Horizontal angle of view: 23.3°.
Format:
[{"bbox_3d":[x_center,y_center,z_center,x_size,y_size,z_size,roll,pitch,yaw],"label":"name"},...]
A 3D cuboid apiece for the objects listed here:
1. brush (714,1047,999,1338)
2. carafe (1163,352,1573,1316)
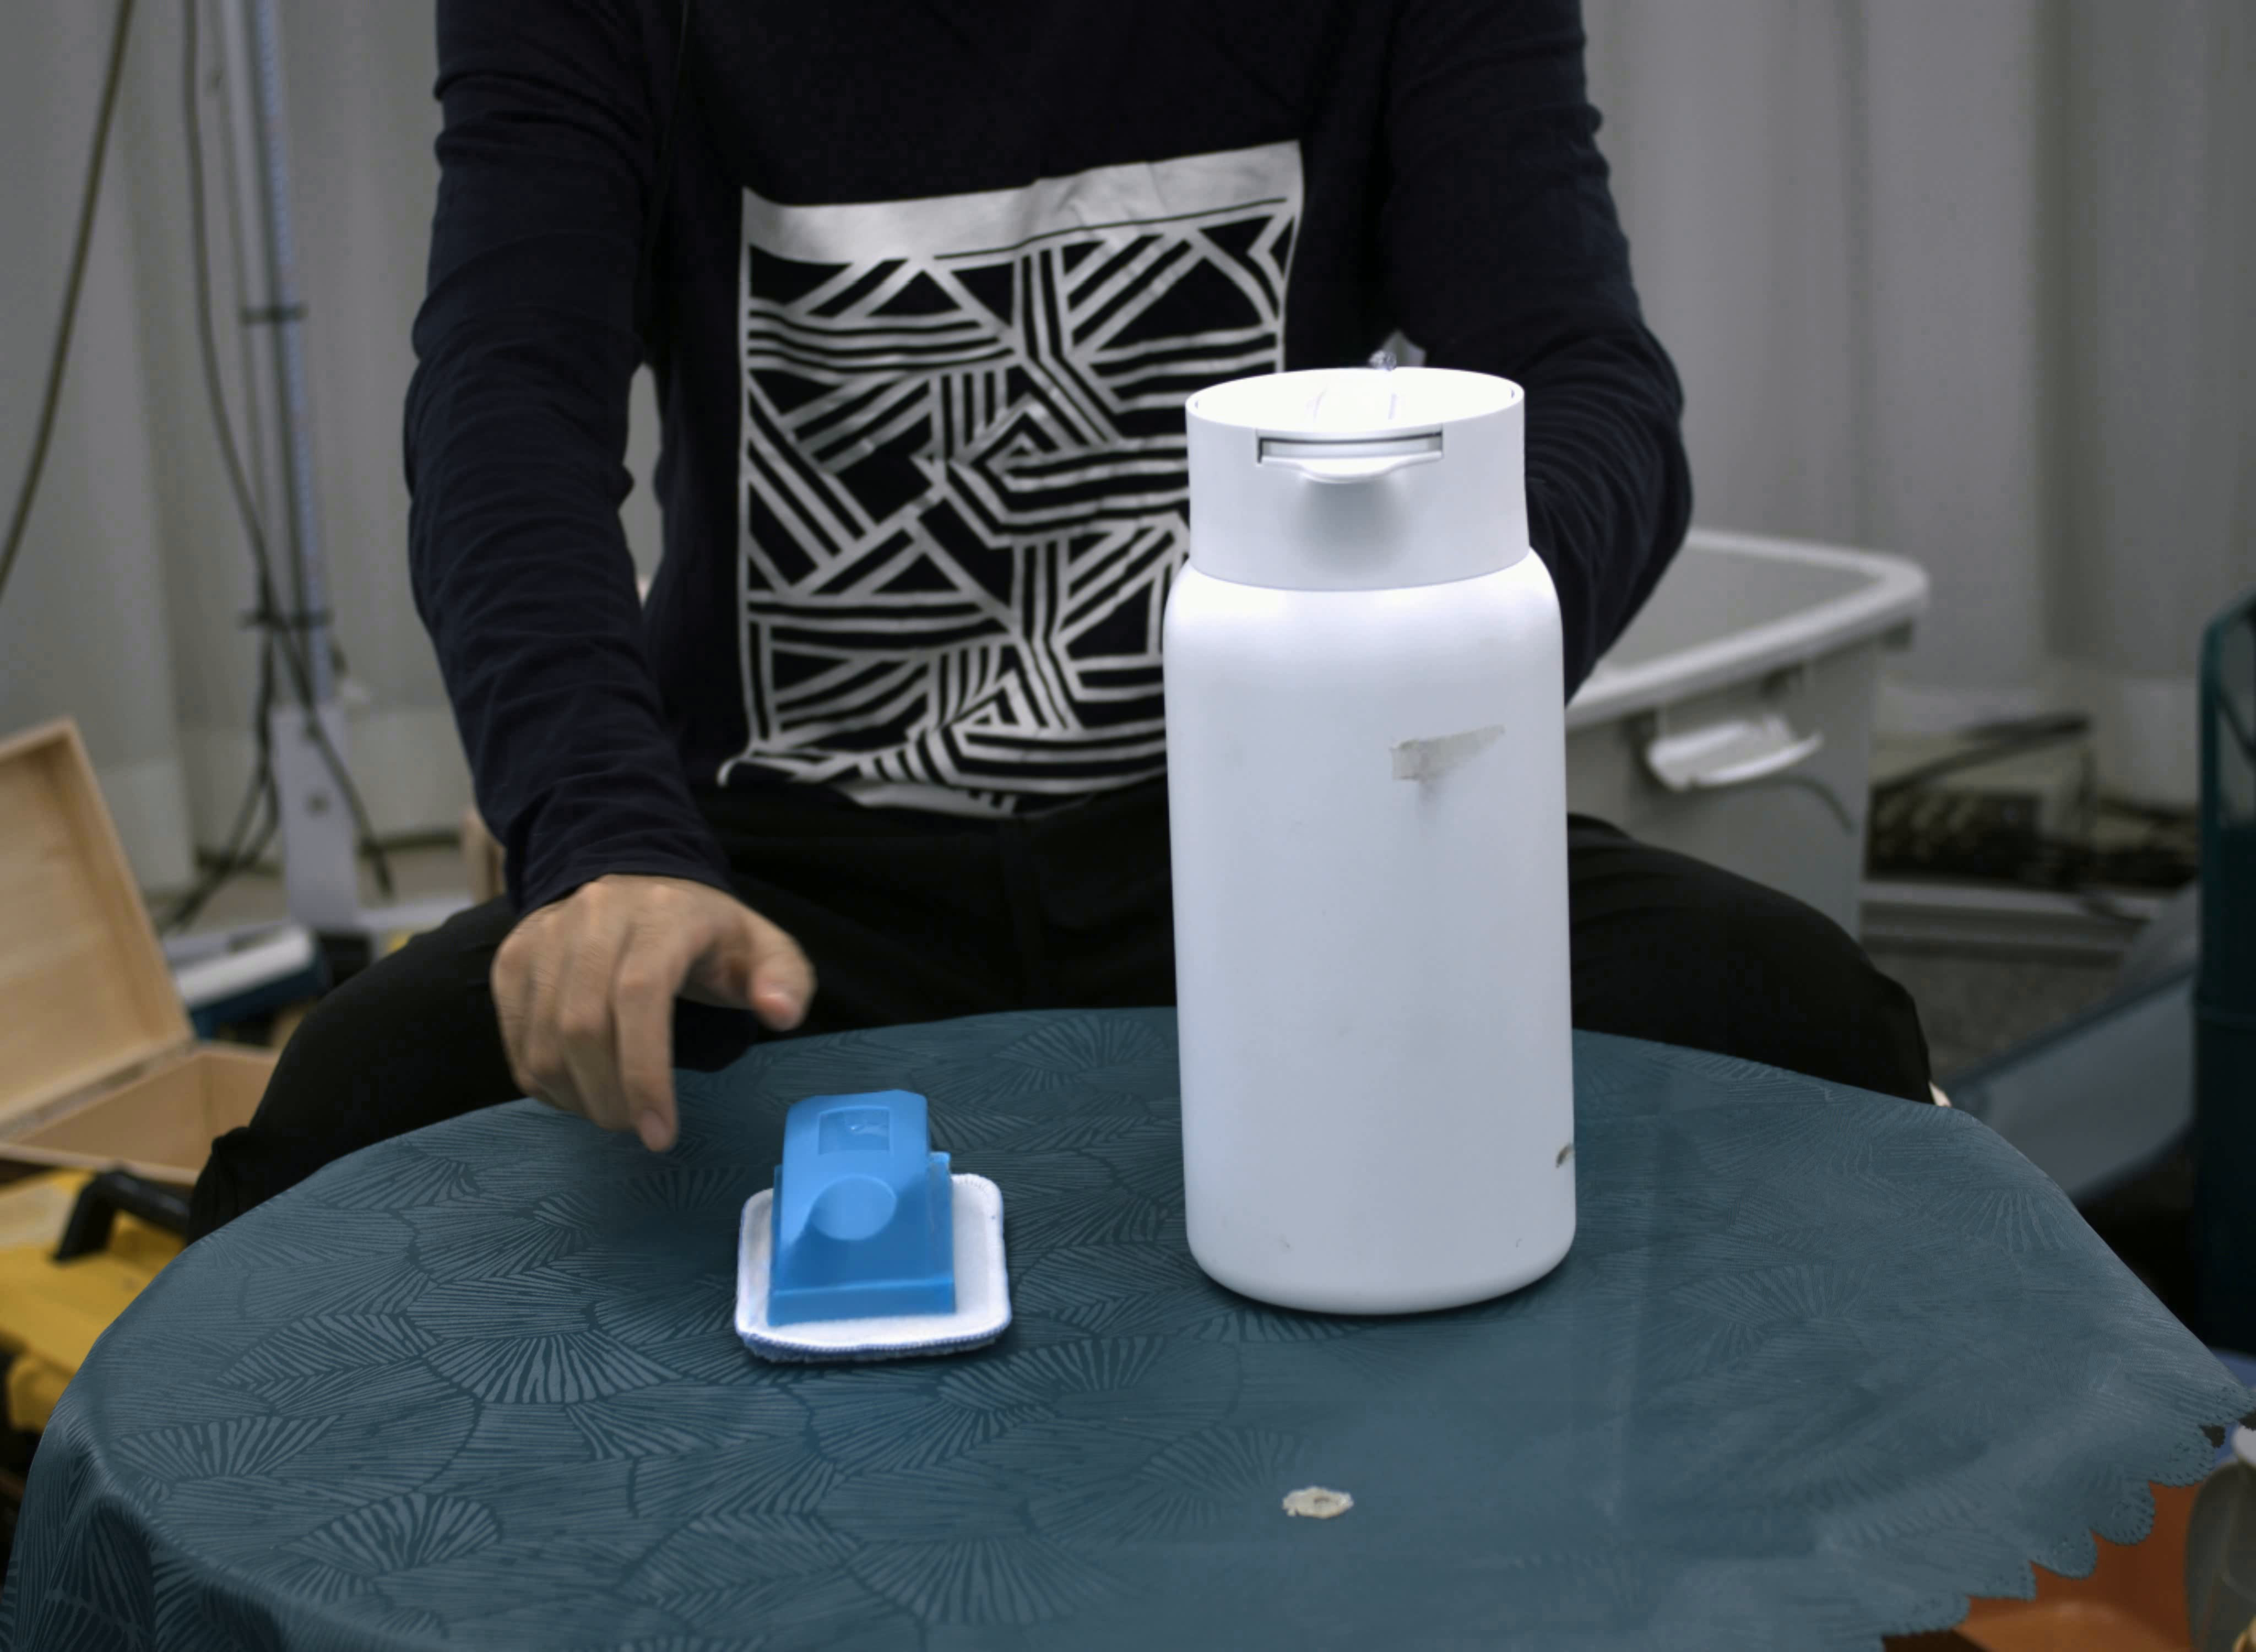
[{"bbox_3d":[-0.081,0.107,1.638,0.083,0.055,0.145,0,18,-1],"label":"brush"},{"bbox_3d":[0.070,-0.002,1.627,0.123,0.268,0.174,-3,13,4],"label":"carafe"}]
